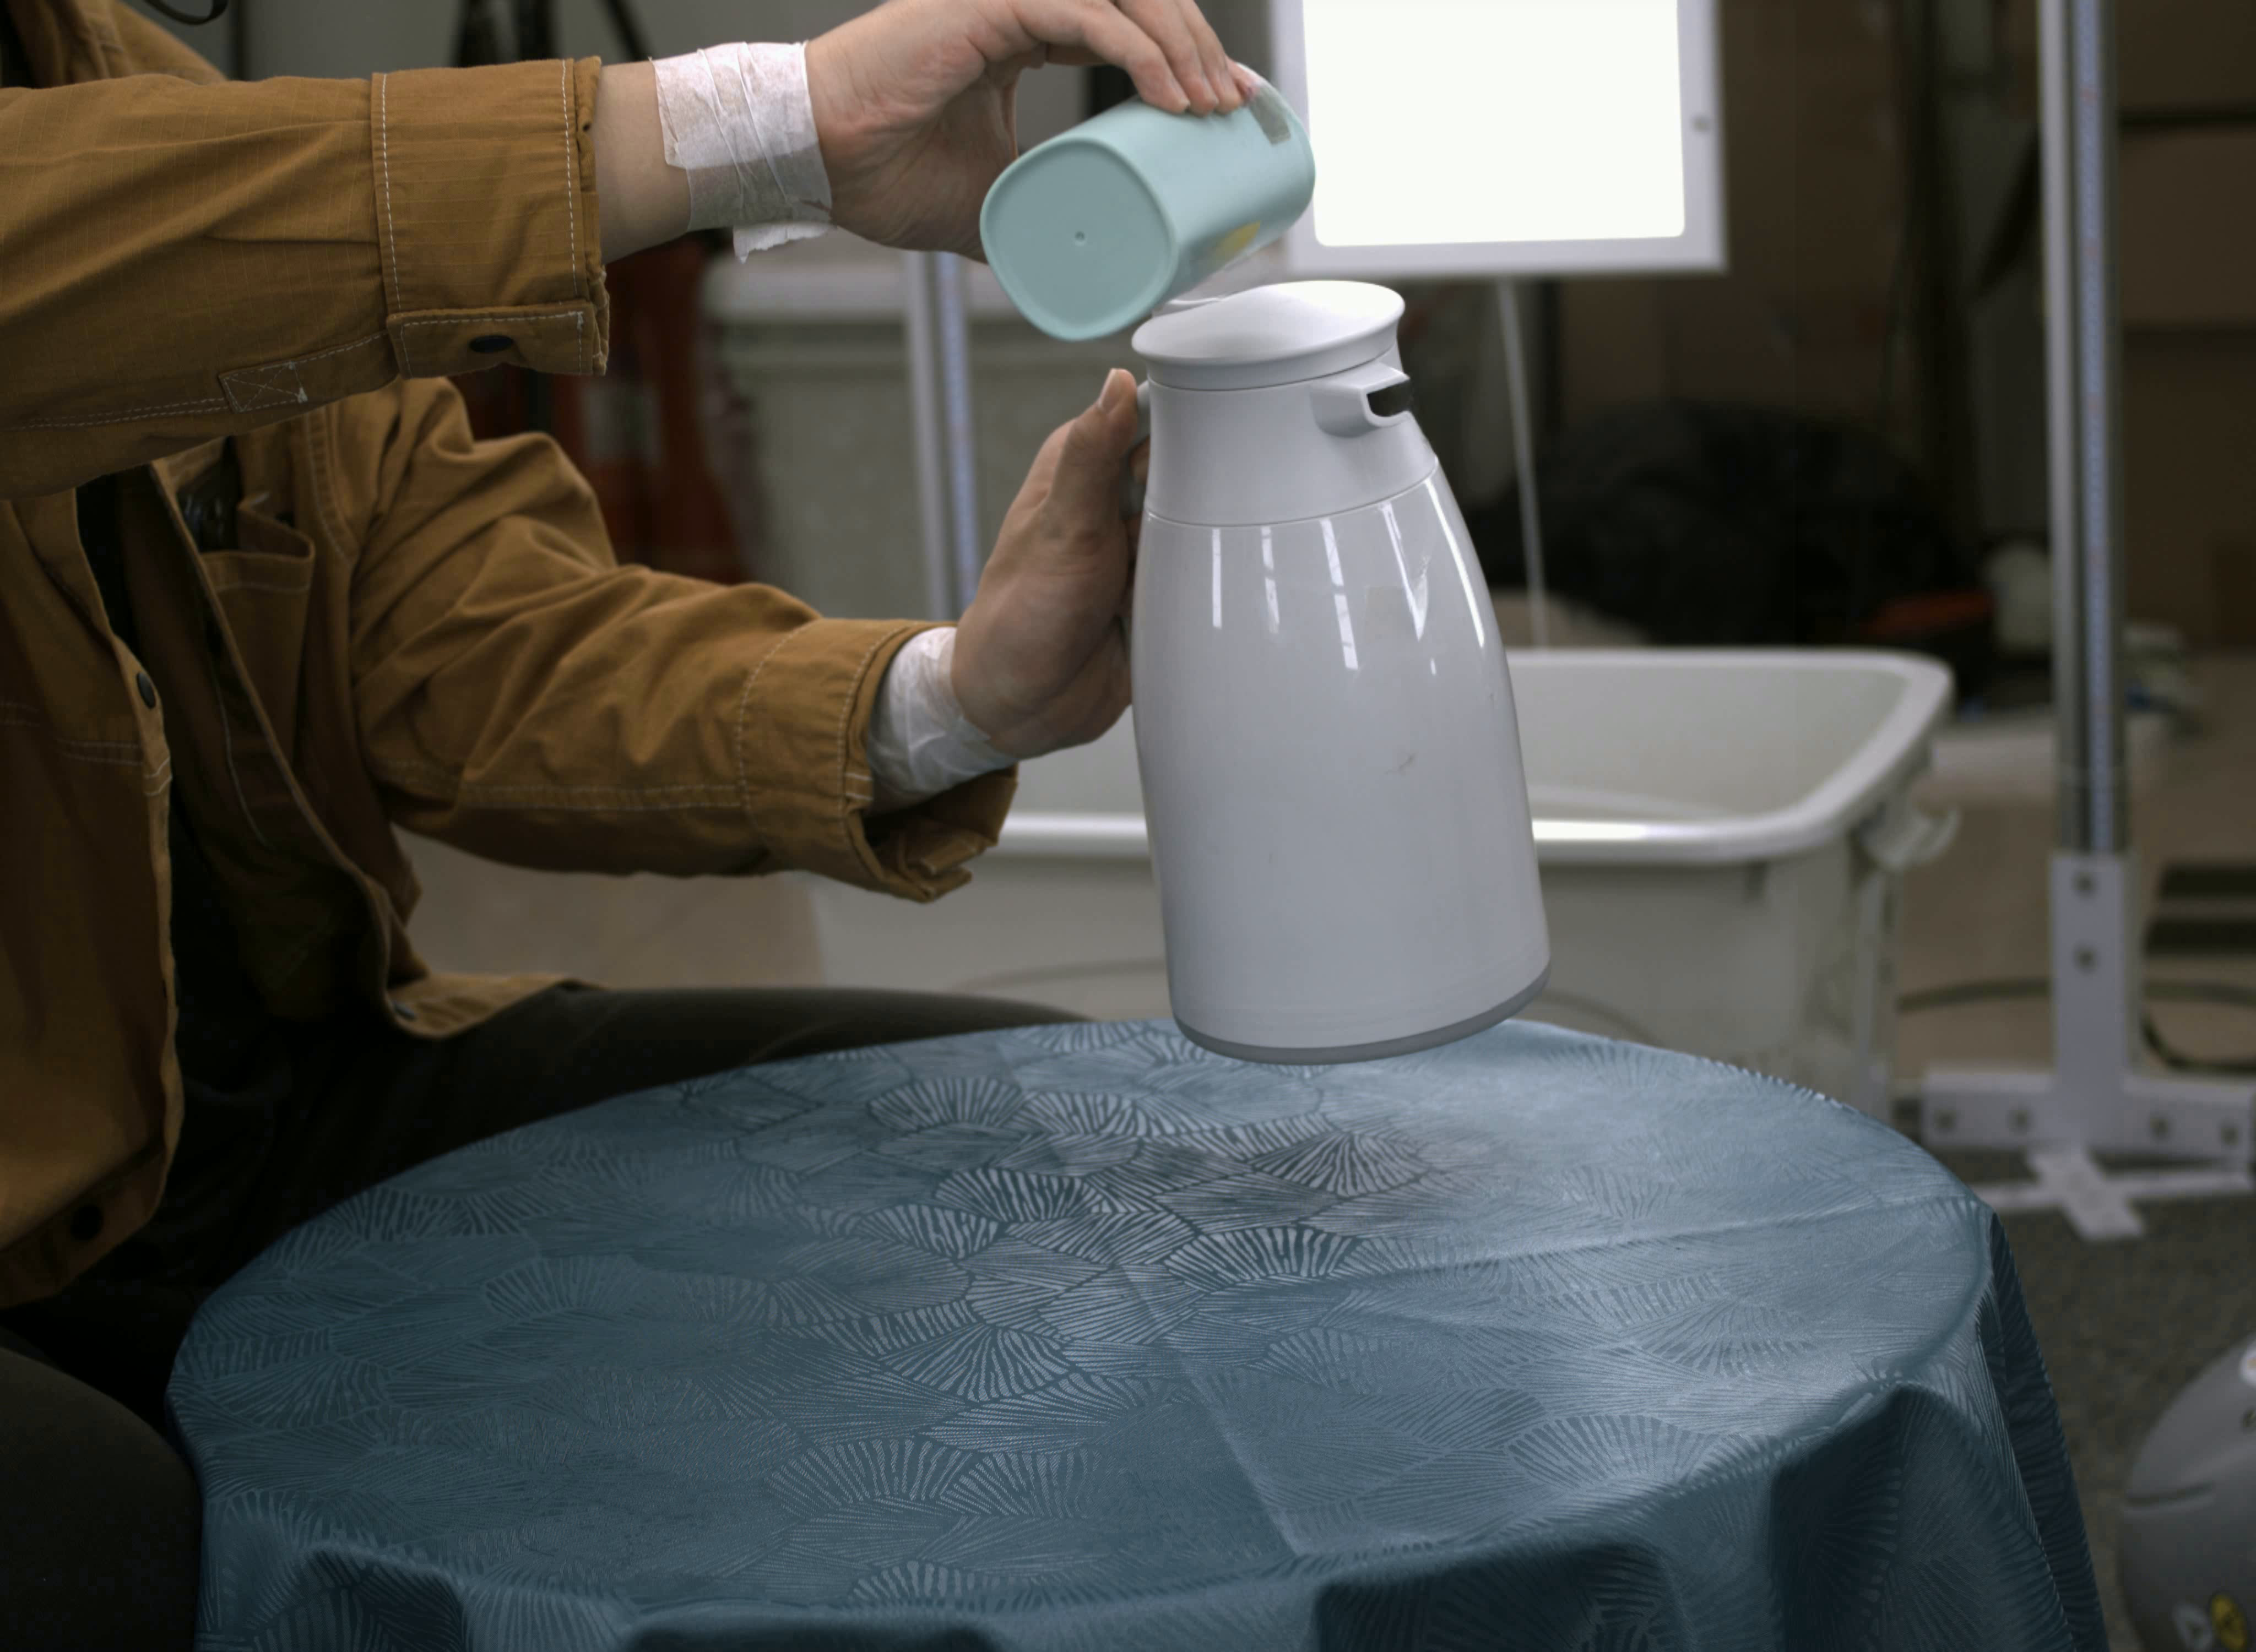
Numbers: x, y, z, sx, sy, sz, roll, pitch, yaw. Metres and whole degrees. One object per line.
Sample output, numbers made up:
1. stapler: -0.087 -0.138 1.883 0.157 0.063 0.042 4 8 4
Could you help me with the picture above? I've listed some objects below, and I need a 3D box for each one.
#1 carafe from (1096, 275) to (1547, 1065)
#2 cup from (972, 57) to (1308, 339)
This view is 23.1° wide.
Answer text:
1. carafe: 0.050 -0.062 1.863 0.129 0.249 0.171 -21 21 -30
2. cup: 0.005 -0.198 1.714 0.067 0.067 0.130 1 17 21
